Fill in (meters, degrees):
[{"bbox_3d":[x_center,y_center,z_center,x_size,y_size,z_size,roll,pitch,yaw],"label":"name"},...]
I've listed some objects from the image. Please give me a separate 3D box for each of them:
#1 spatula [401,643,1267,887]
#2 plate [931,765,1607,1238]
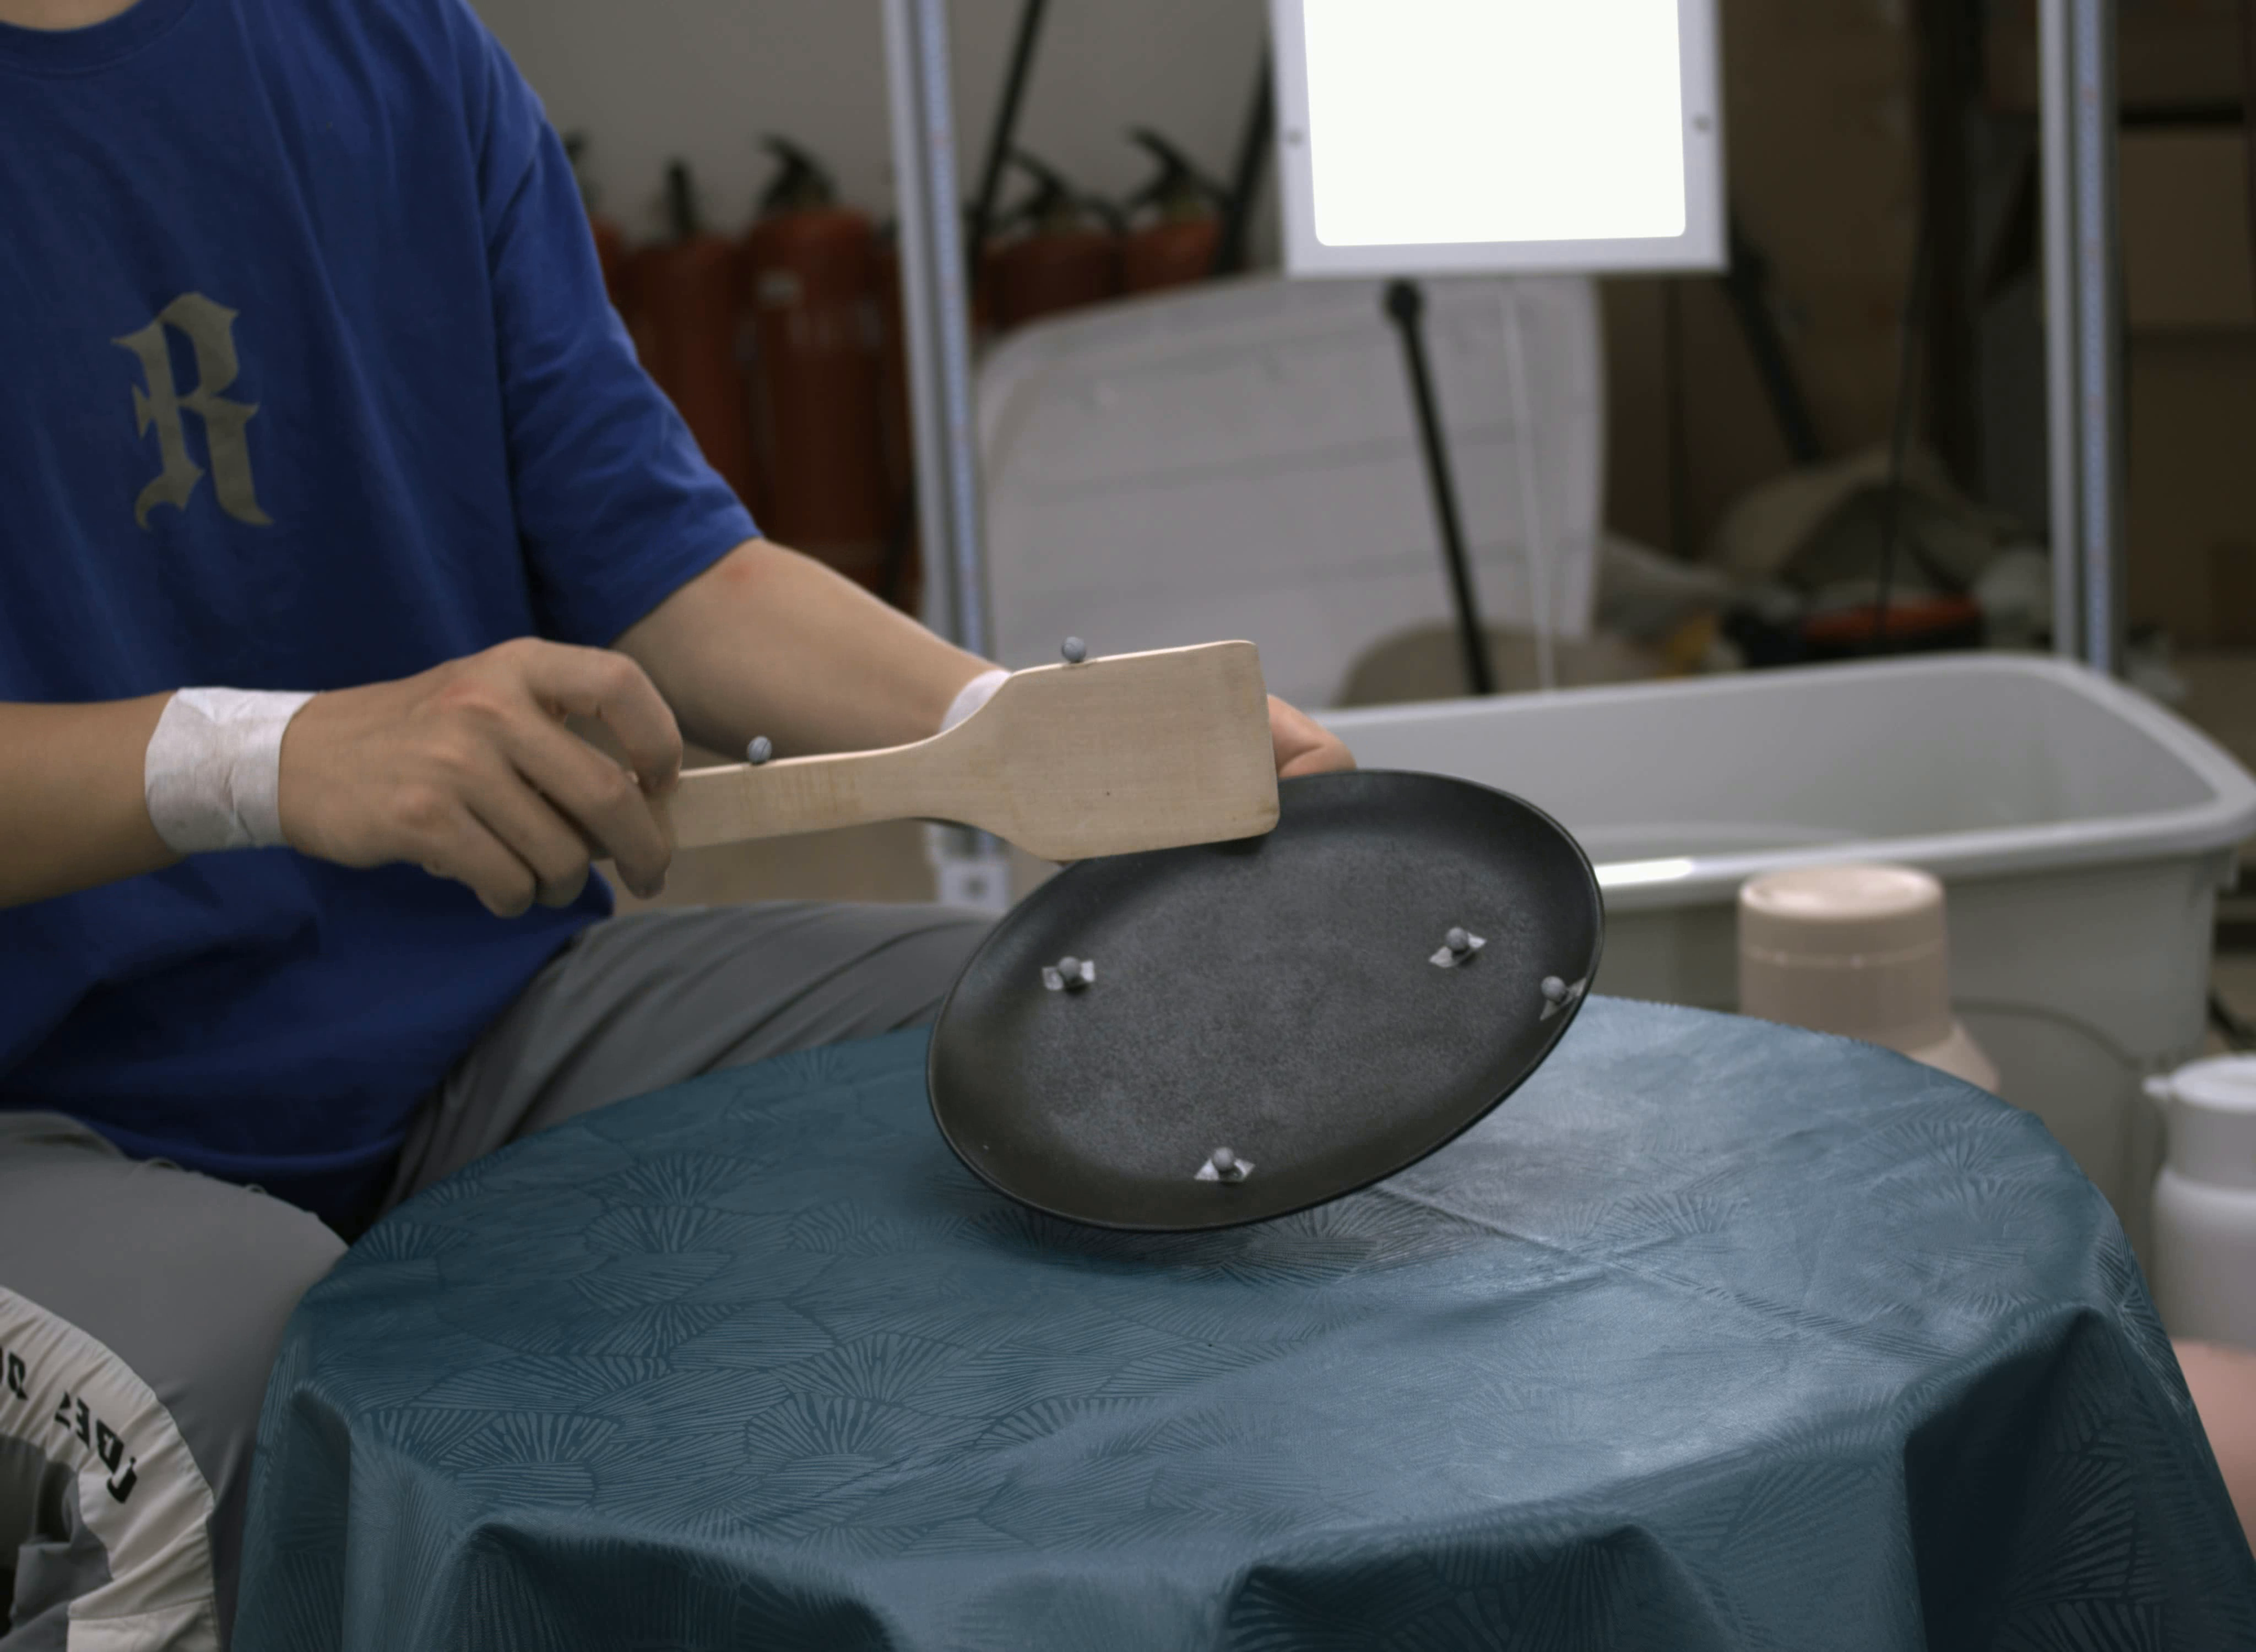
[{"bbox_3d":[-0.101,-0.011,1.851,0.293,0.072,0.010,-7,22,5],"label":"spatula"},{"bbox_3d":[0.050,0.063,1.895,0.246,0.023,0.244,-16,35,10],"label":"plate"}]
